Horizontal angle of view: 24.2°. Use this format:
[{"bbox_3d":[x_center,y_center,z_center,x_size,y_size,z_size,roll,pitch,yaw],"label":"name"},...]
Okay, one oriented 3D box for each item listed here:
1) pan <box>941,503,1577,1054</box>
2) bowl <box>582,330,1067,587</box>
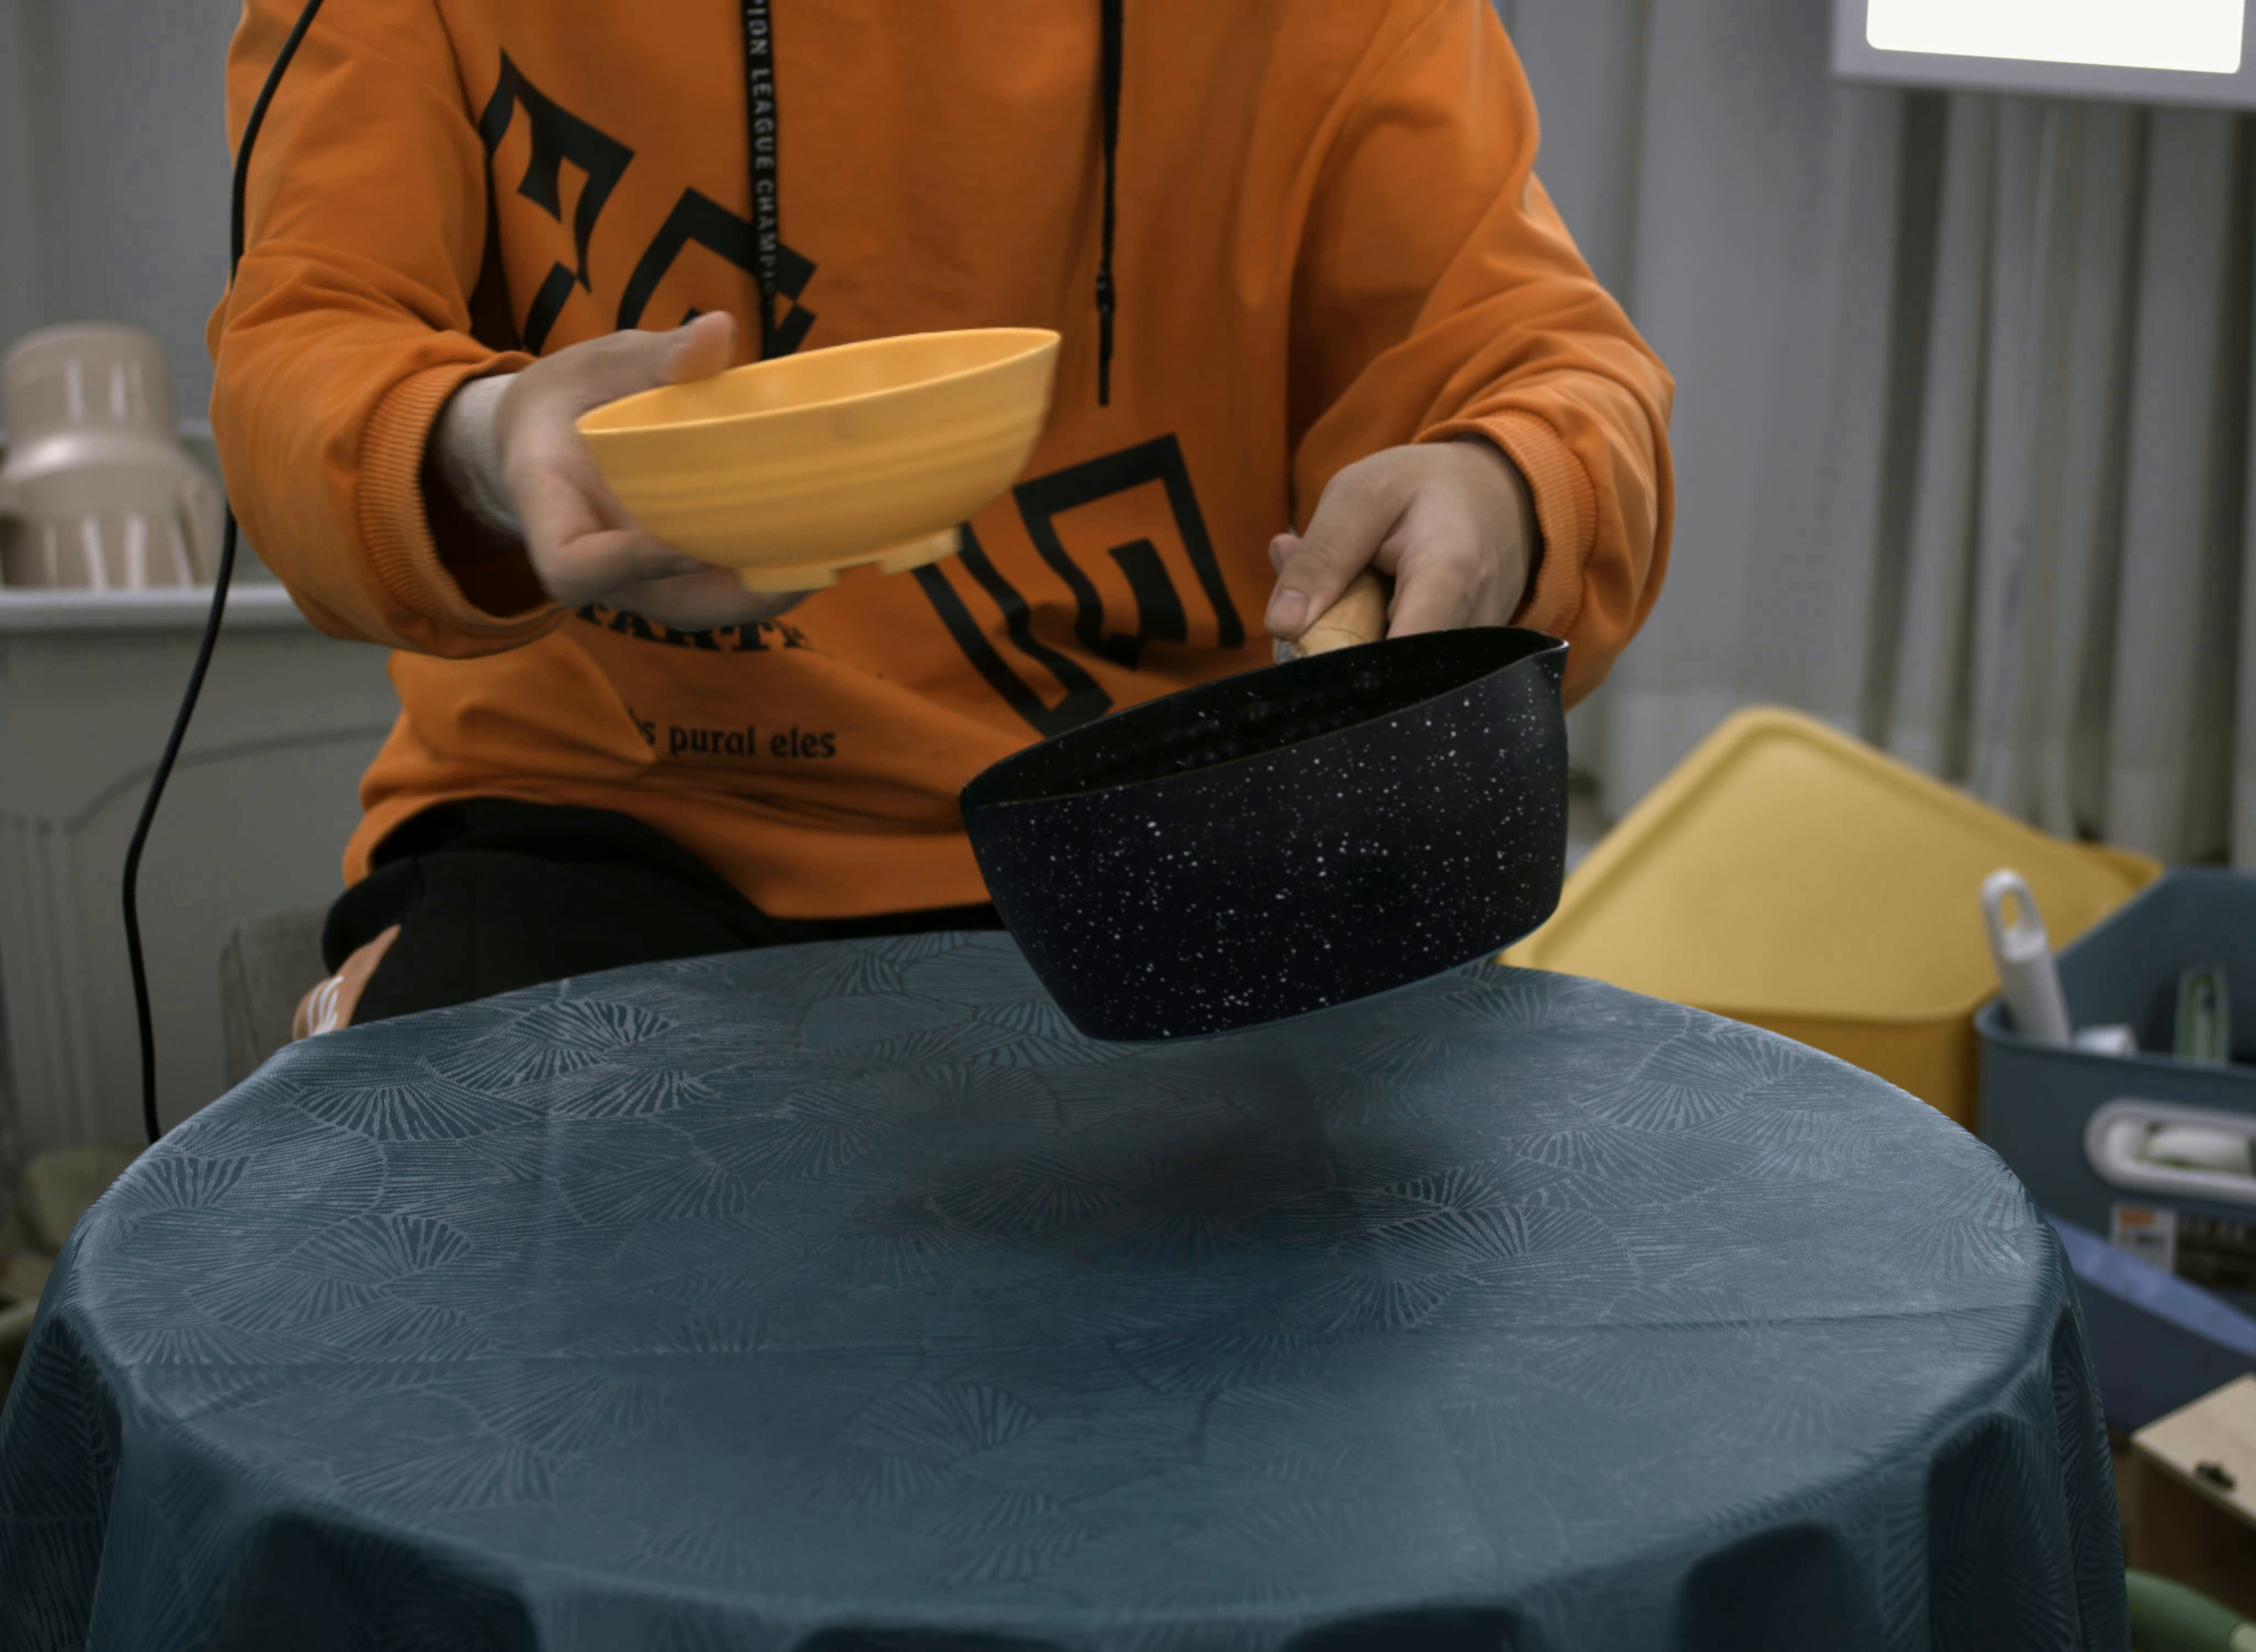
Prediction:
[{"bbox_3d":[0.060,-0.023,1.677,0.206,0.109,0.342,-14,10,14],"label":"pan"},{"bbox_3d":[-0.085,-0.106,1.555,0.145,0.060,0.145,-9,11,2],"label":"bowl"}]
